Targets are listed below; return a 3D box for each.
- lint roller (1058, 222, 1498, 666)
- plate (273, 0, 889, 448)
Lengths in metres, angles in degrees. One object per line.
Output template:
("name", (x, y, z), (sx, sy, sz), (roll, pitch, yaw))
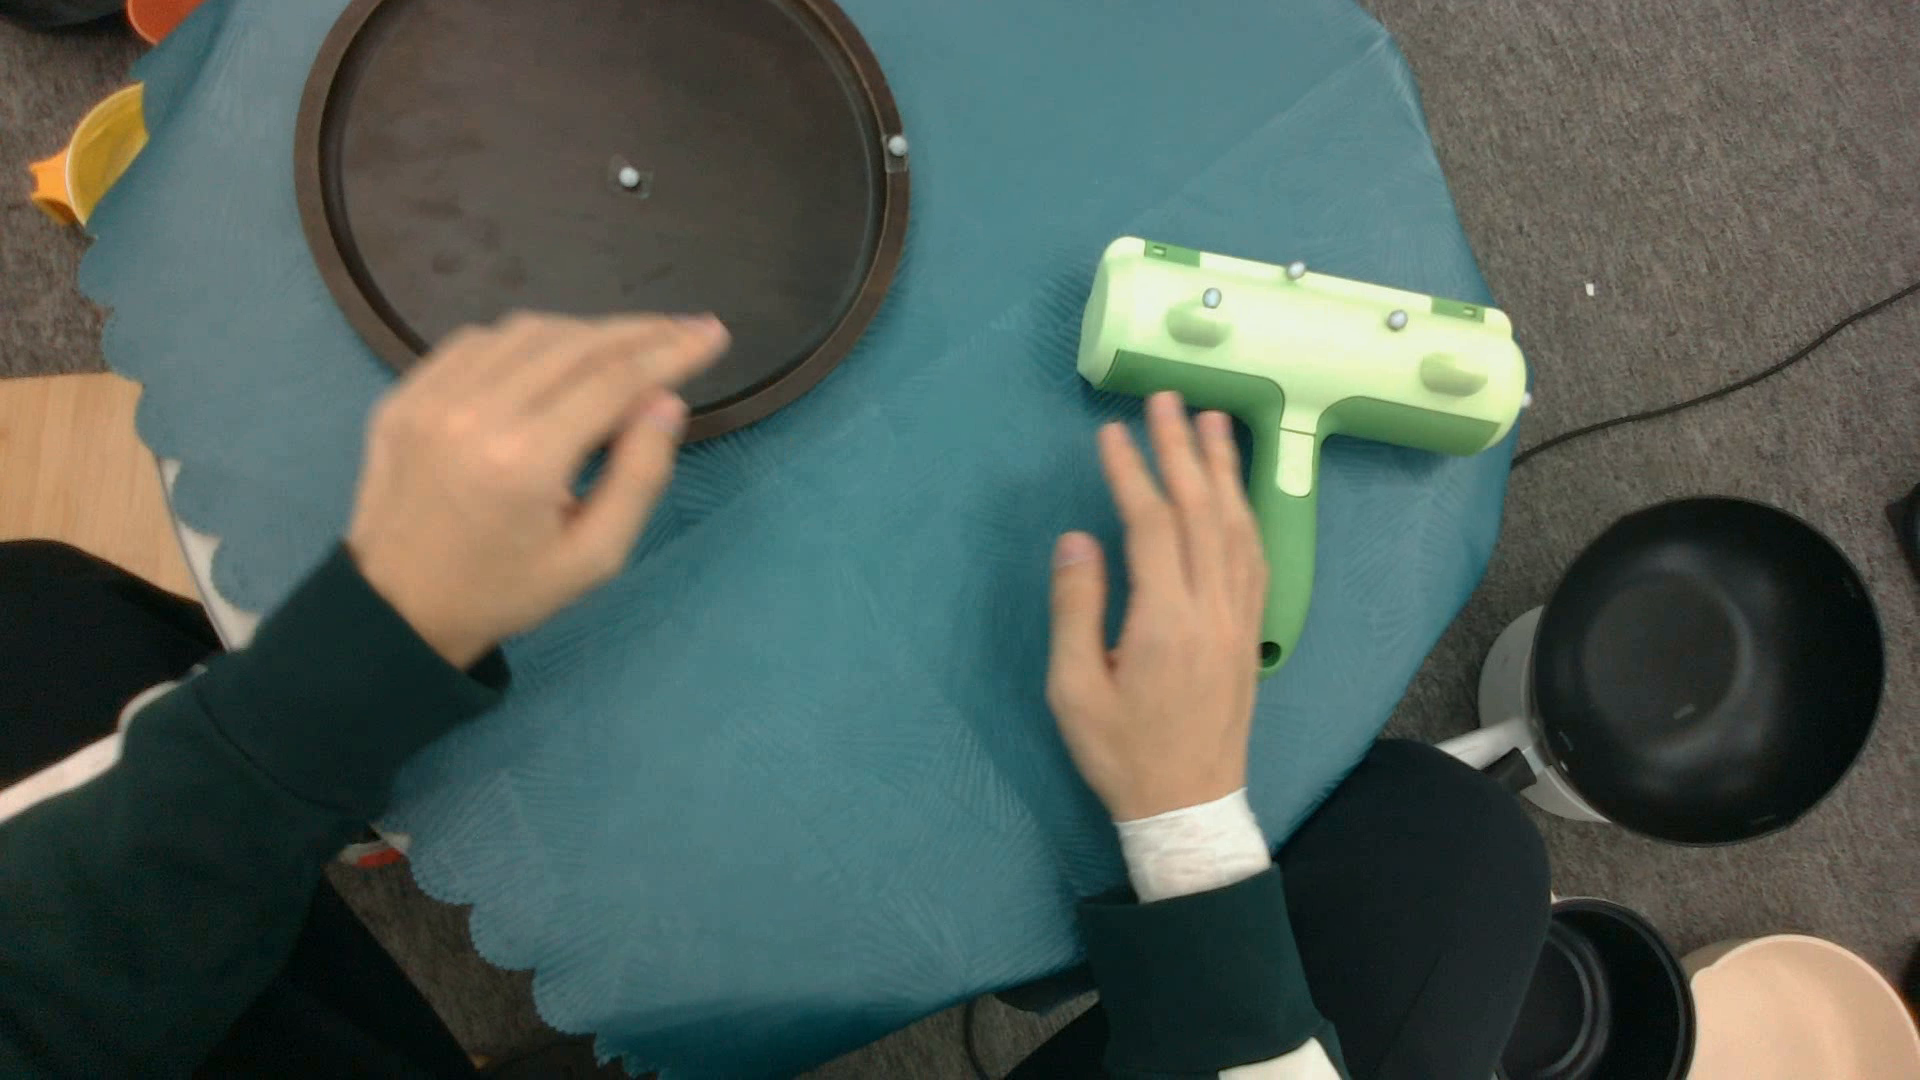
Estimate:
("lint roller", (0.141, -0.040, 0.603), (0.199, 0.082, 0.184), (8, 74, -10))
("plate", (-0.157, -0.161, 0.592), (0.255, 0.029, 0.255), (3, 79, -13))
